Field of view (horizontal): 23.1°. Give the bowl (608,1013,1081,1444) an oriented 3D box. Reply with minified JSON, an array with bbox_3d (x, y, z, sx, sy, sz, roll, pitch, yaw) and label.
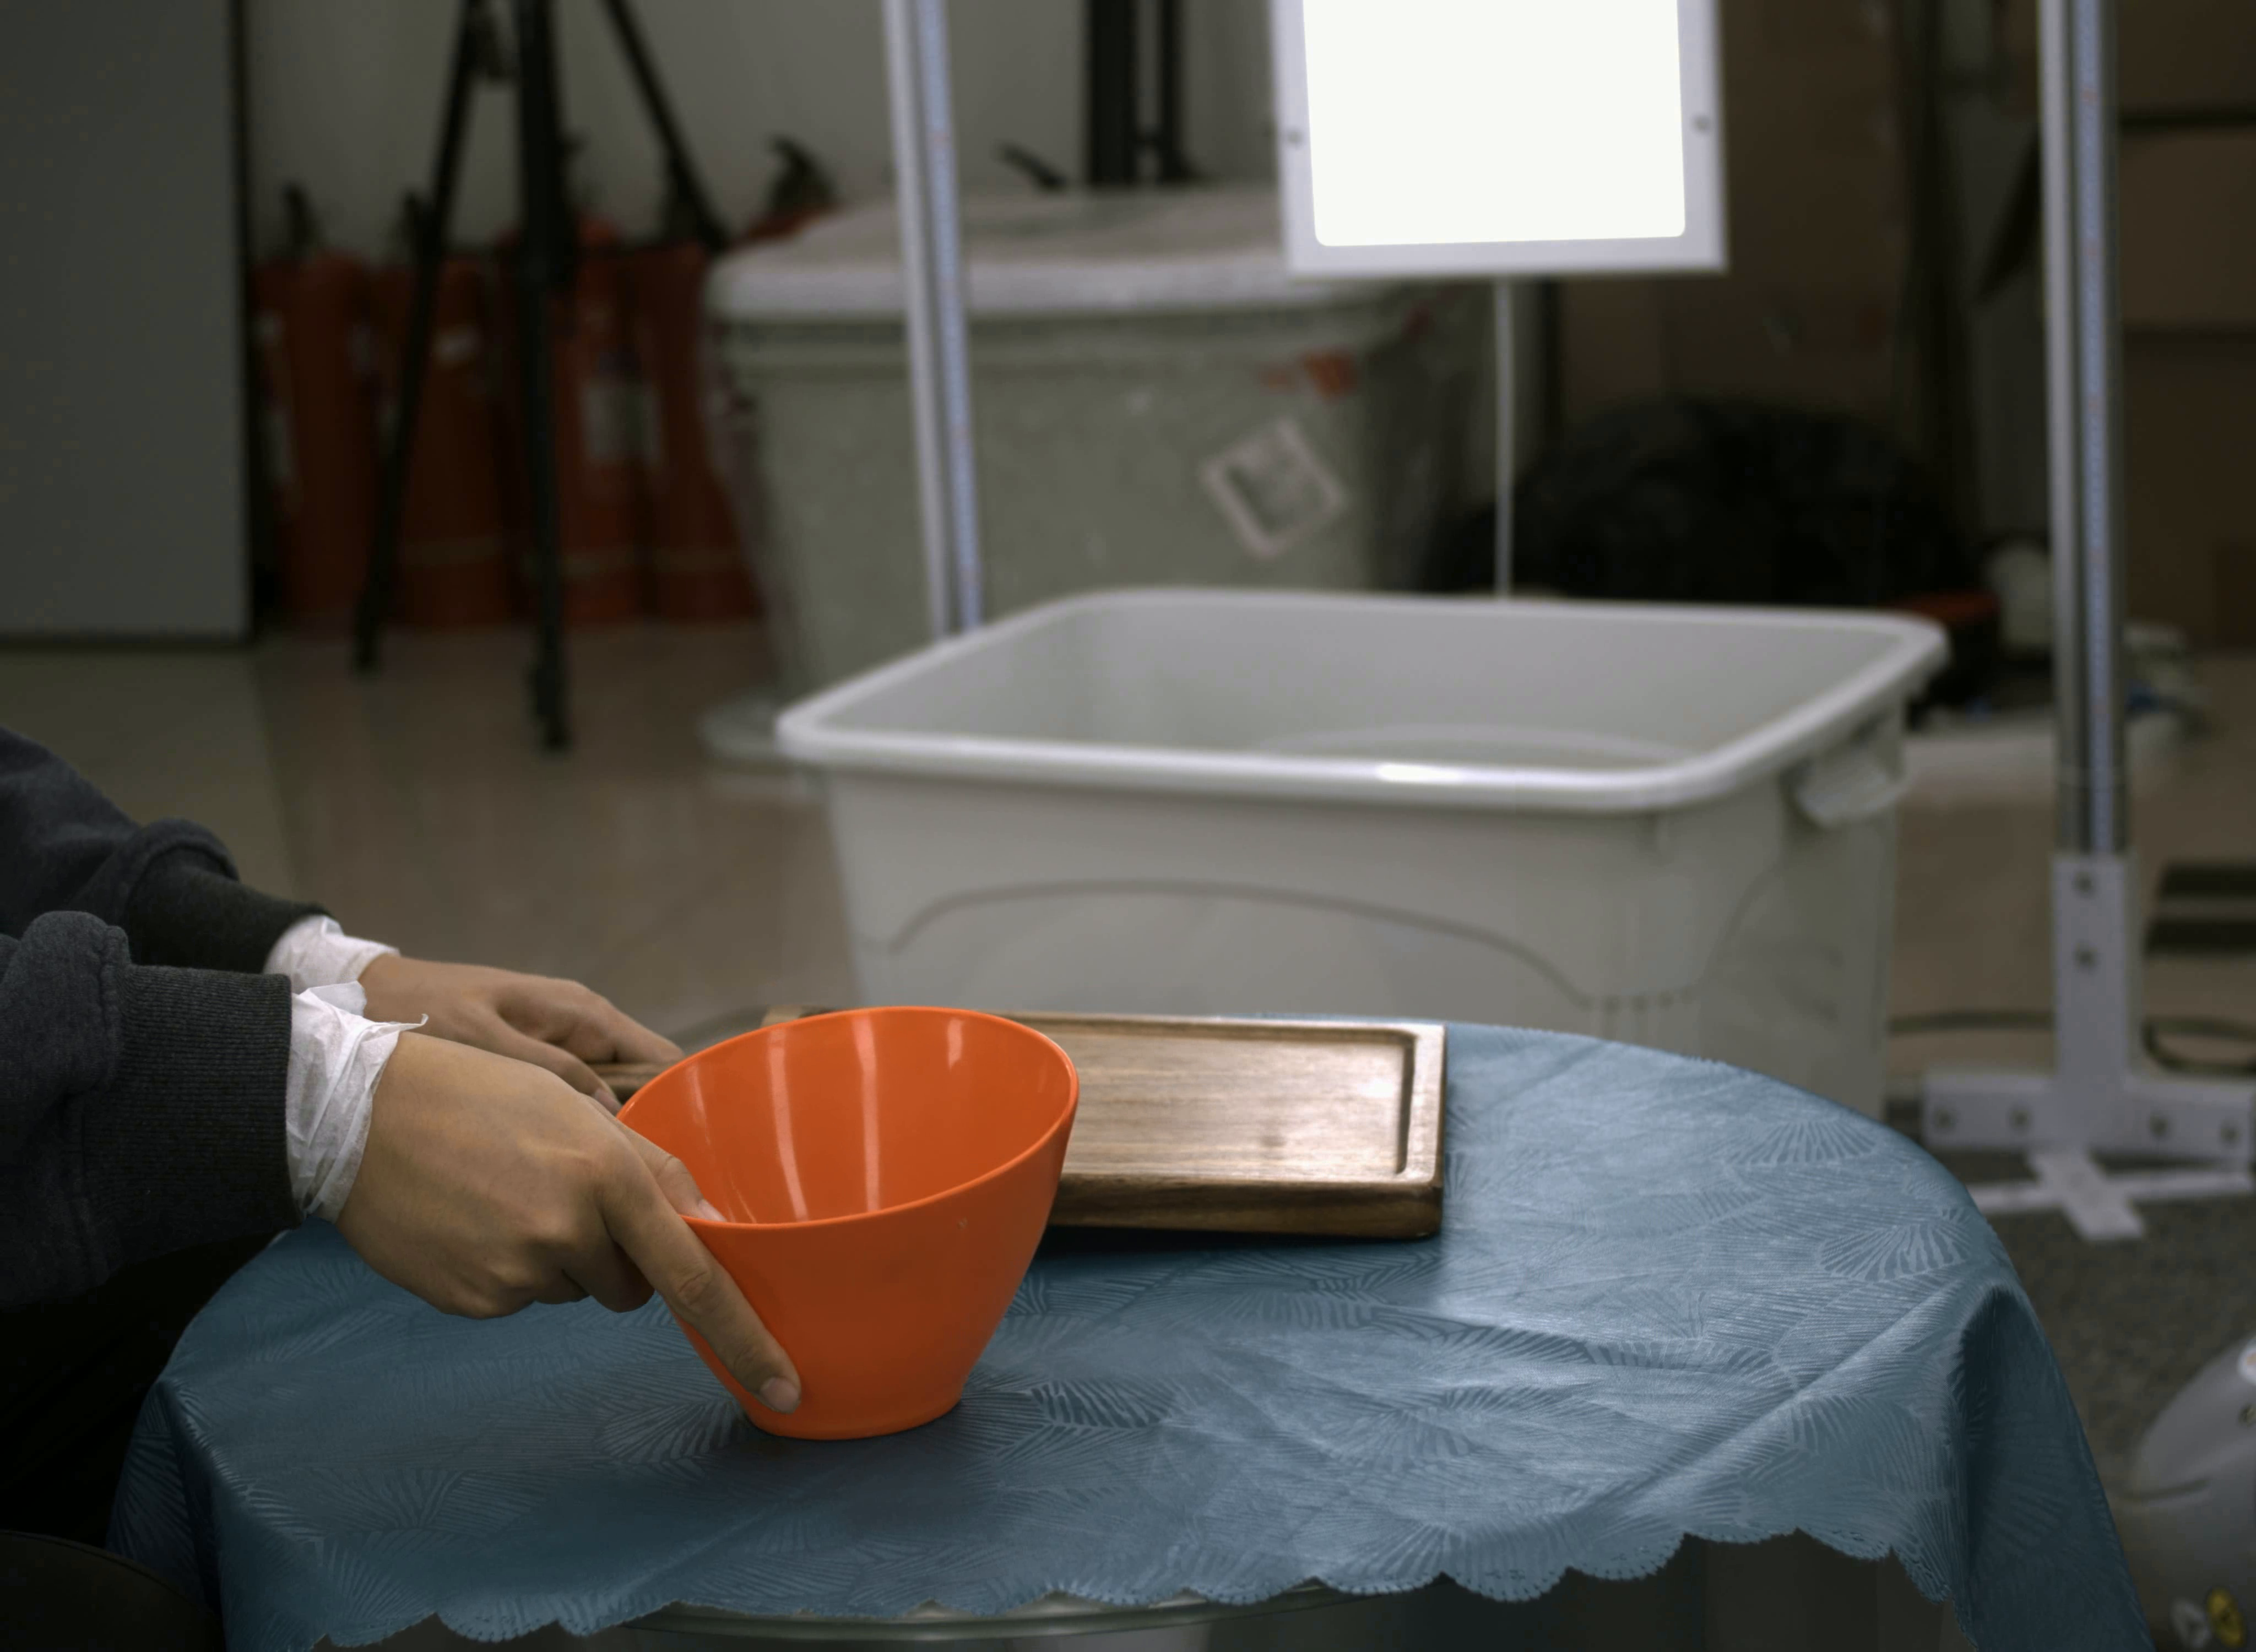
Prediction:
[{"bbox_3d":[-0.085,0.128,1.708,0.147,0.105,0.148,-5,13,0],"label":"bowl"}]

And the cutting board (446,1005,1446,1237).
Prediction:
[{"bbox_3d":[-0.064,0.099,1.925,0.353,0.023,0.200,1,14,5],"label":"cutting board"}]
